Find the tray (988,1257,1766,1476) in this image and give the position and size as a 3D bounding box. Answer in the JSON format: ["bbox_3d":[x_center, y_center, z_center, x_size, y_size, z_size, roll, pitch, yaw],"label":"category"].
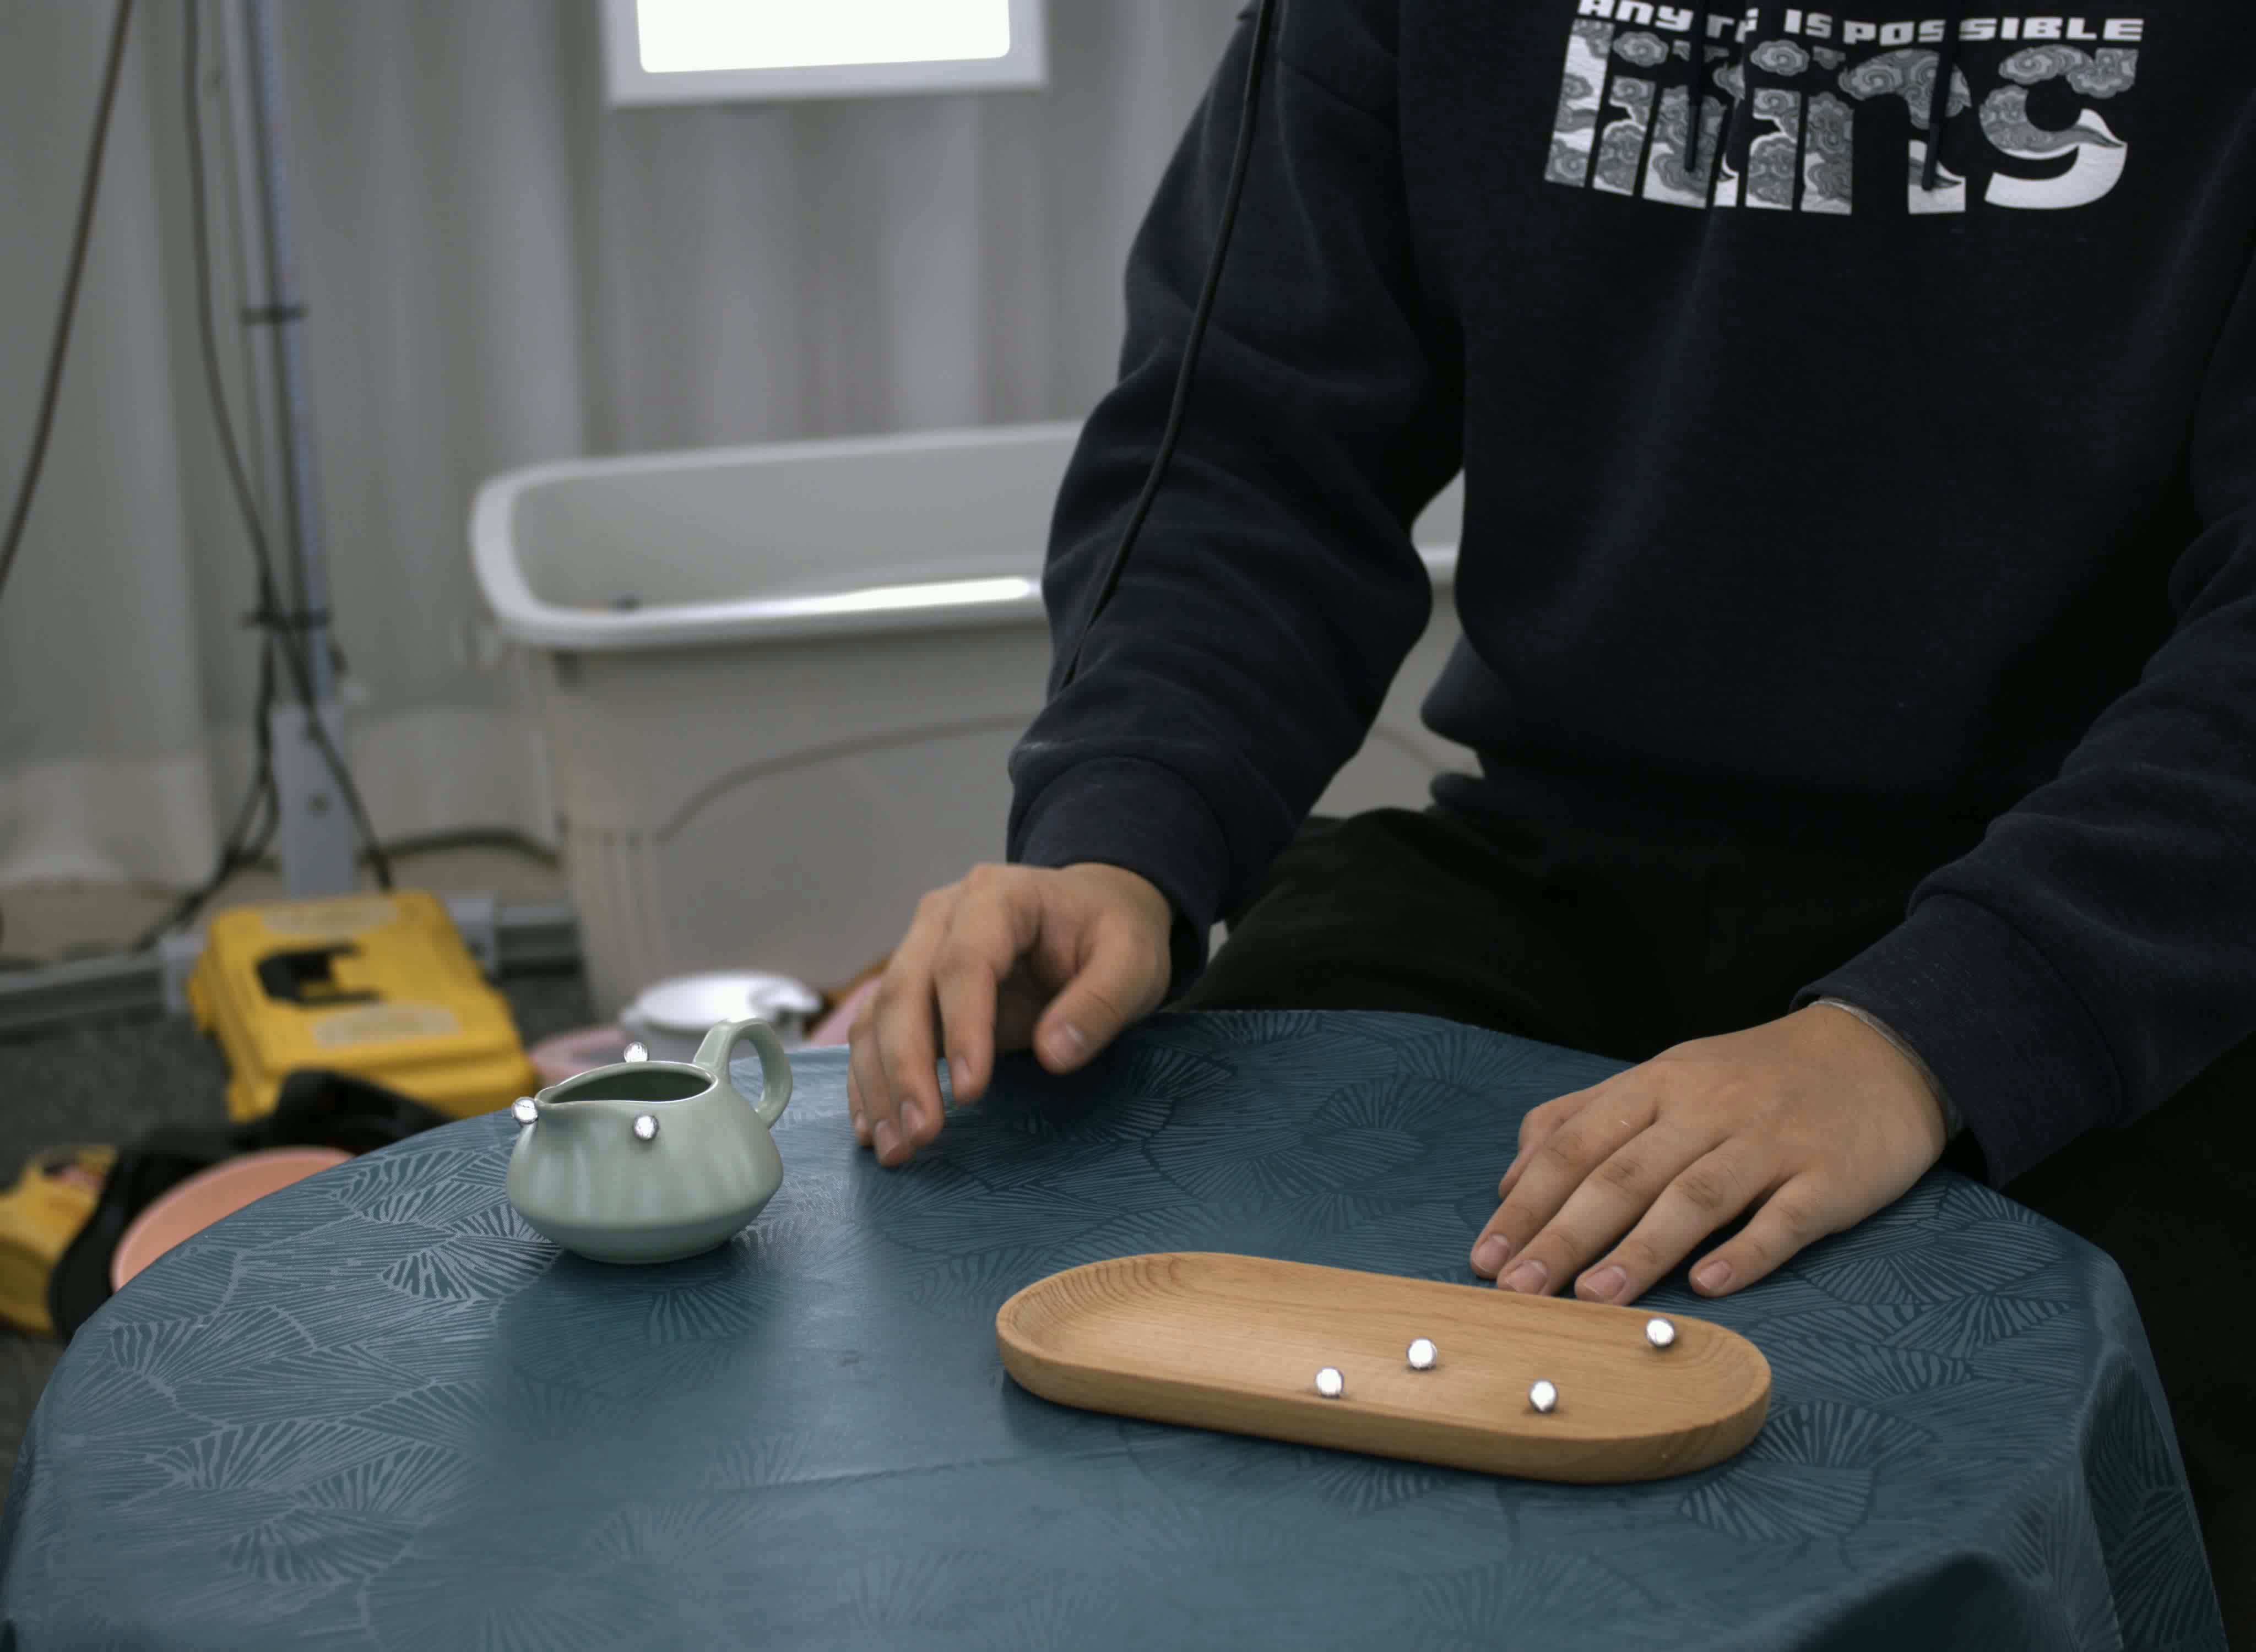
[{"bbox_3d":[0.068,0.152,1.537,0.231,0.020,0.102,3,14,28],"label":"tray"}]

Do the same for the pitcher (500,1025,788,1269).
[{"bbox_3d":[-0.144,0.099,1.694,0.086,0.060,0.108,9,16,35],"label":"pitcher"}]
